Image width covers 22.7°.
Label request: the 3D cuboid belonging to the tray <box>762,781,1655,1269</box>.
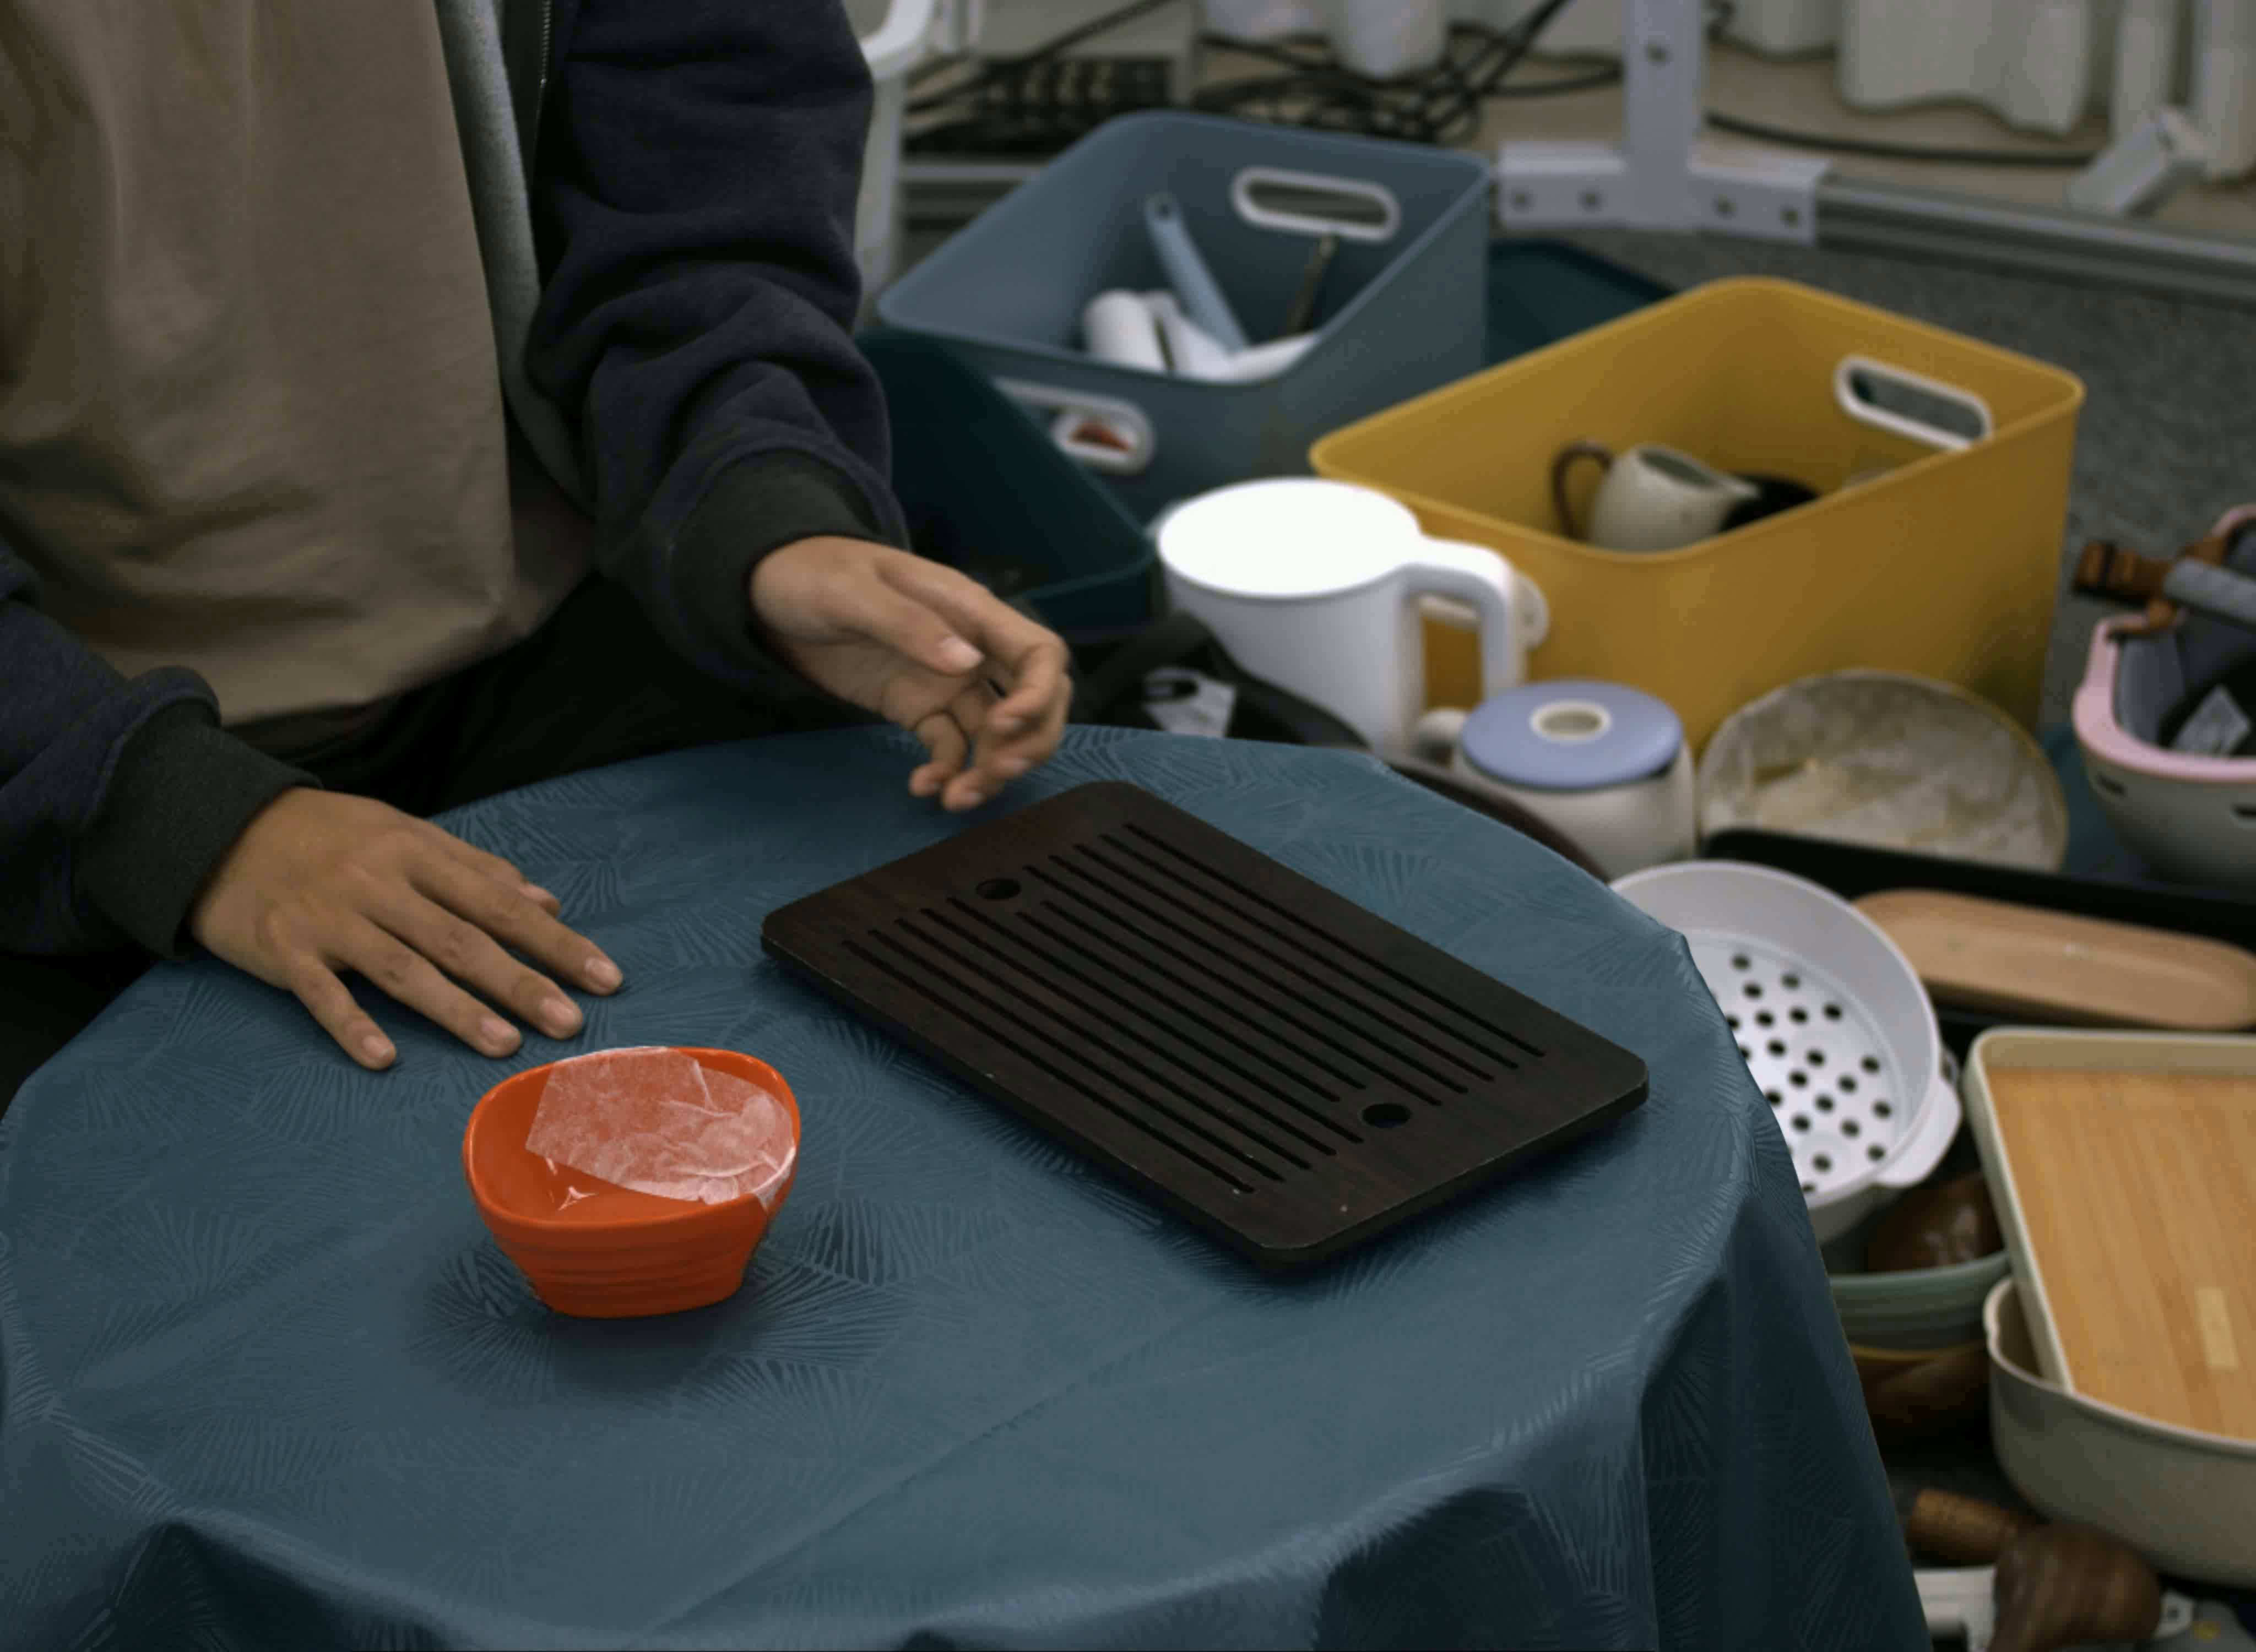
[{"bbox_3d":[0.023,0.065,1.949,0.172,0.018,0.306,-22,33,-32],"label":"tray"}]

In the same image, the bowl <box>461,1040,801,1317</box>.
[{"bbox_3d":[-0.159,0.119,1.824,0.118,0.051,0.121,-3,28,2],"label":"bowl"}]
